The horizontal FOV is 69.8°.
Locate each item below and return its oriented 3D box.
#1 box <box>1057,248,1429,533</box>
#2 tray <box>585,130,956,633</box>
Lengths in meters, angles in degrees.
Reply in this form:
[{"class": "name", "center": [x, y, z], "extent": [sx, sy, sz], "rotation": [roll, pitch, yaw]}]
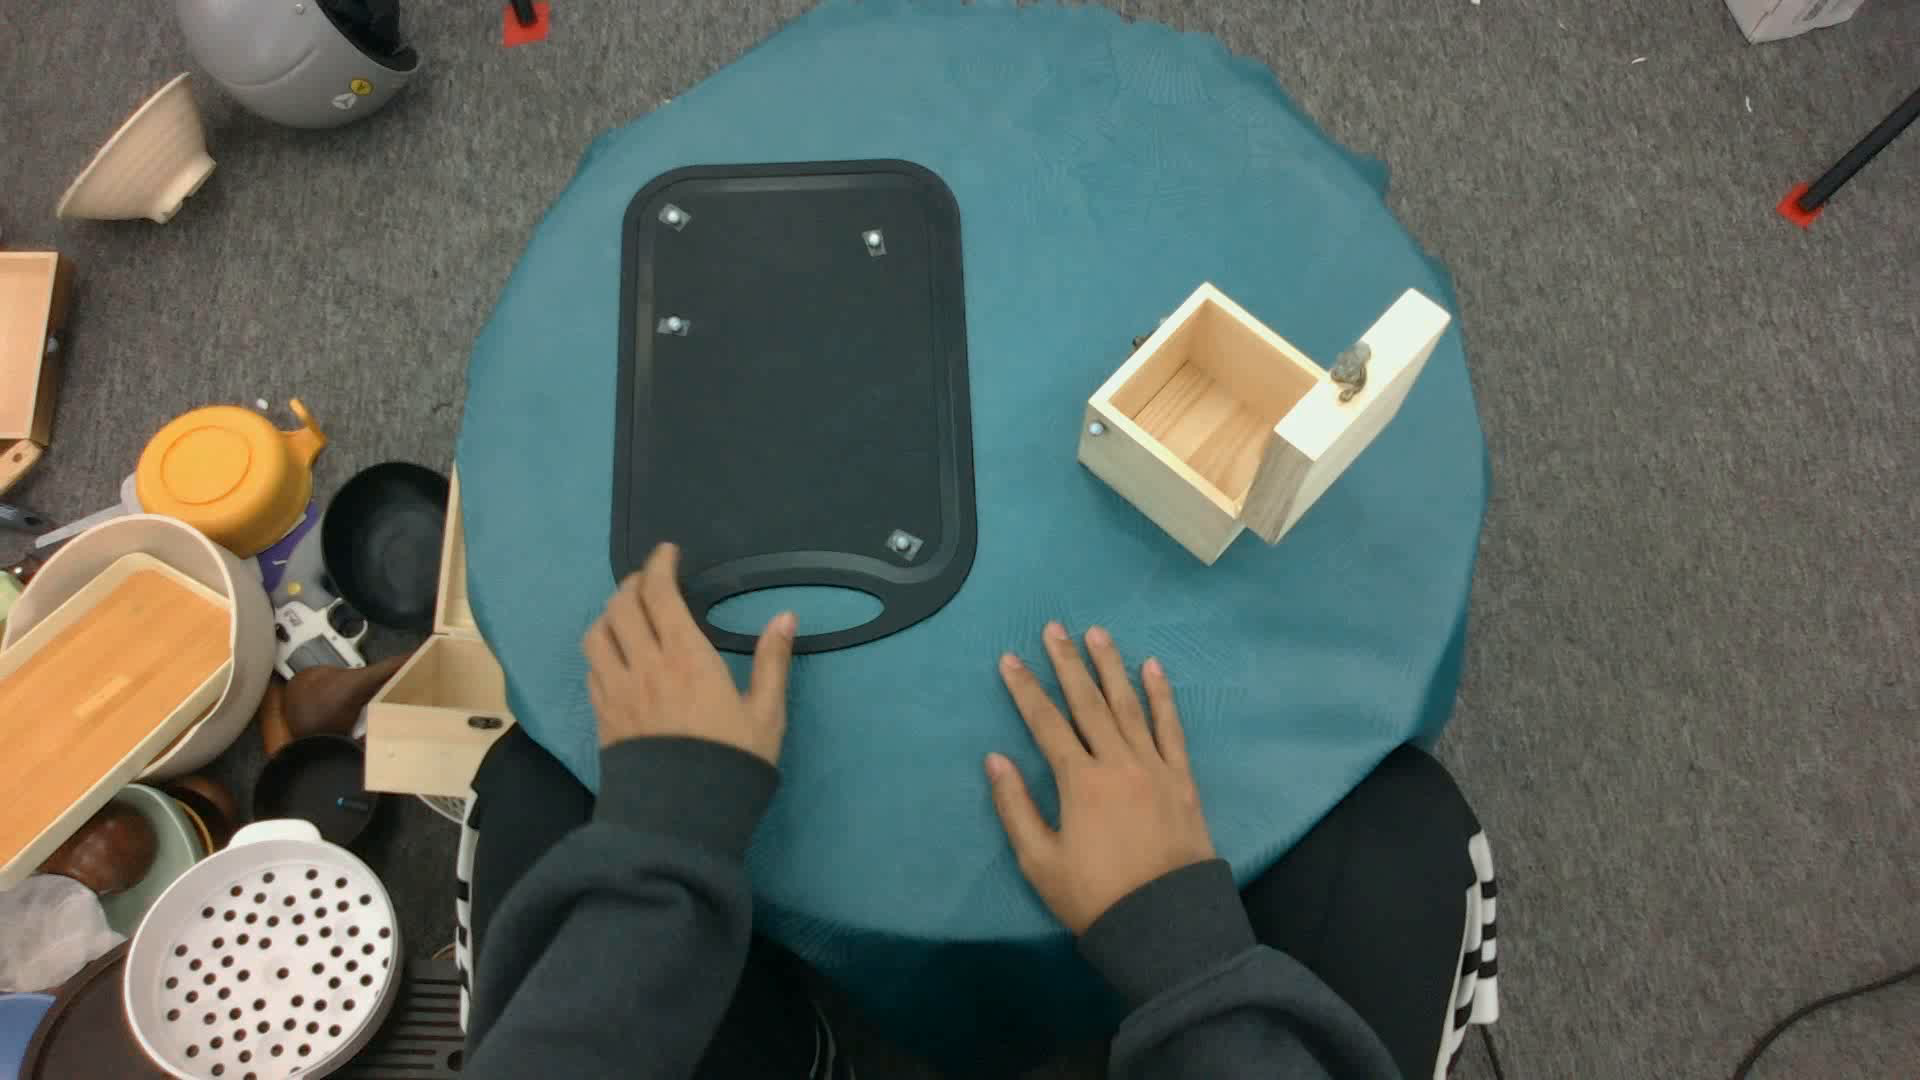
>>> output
[{"class": "box", "center": [0.135, -0.094, 0.716], "extent": [0.134, 0.184, 0.103], "rotation": [40, 74, 11]}, {"class": "tray", "center": [-0.112, -0.103, 0.812], "extent": [0.211, 0.010, 0.326], "rotation": [-3, 70, -1]}]
